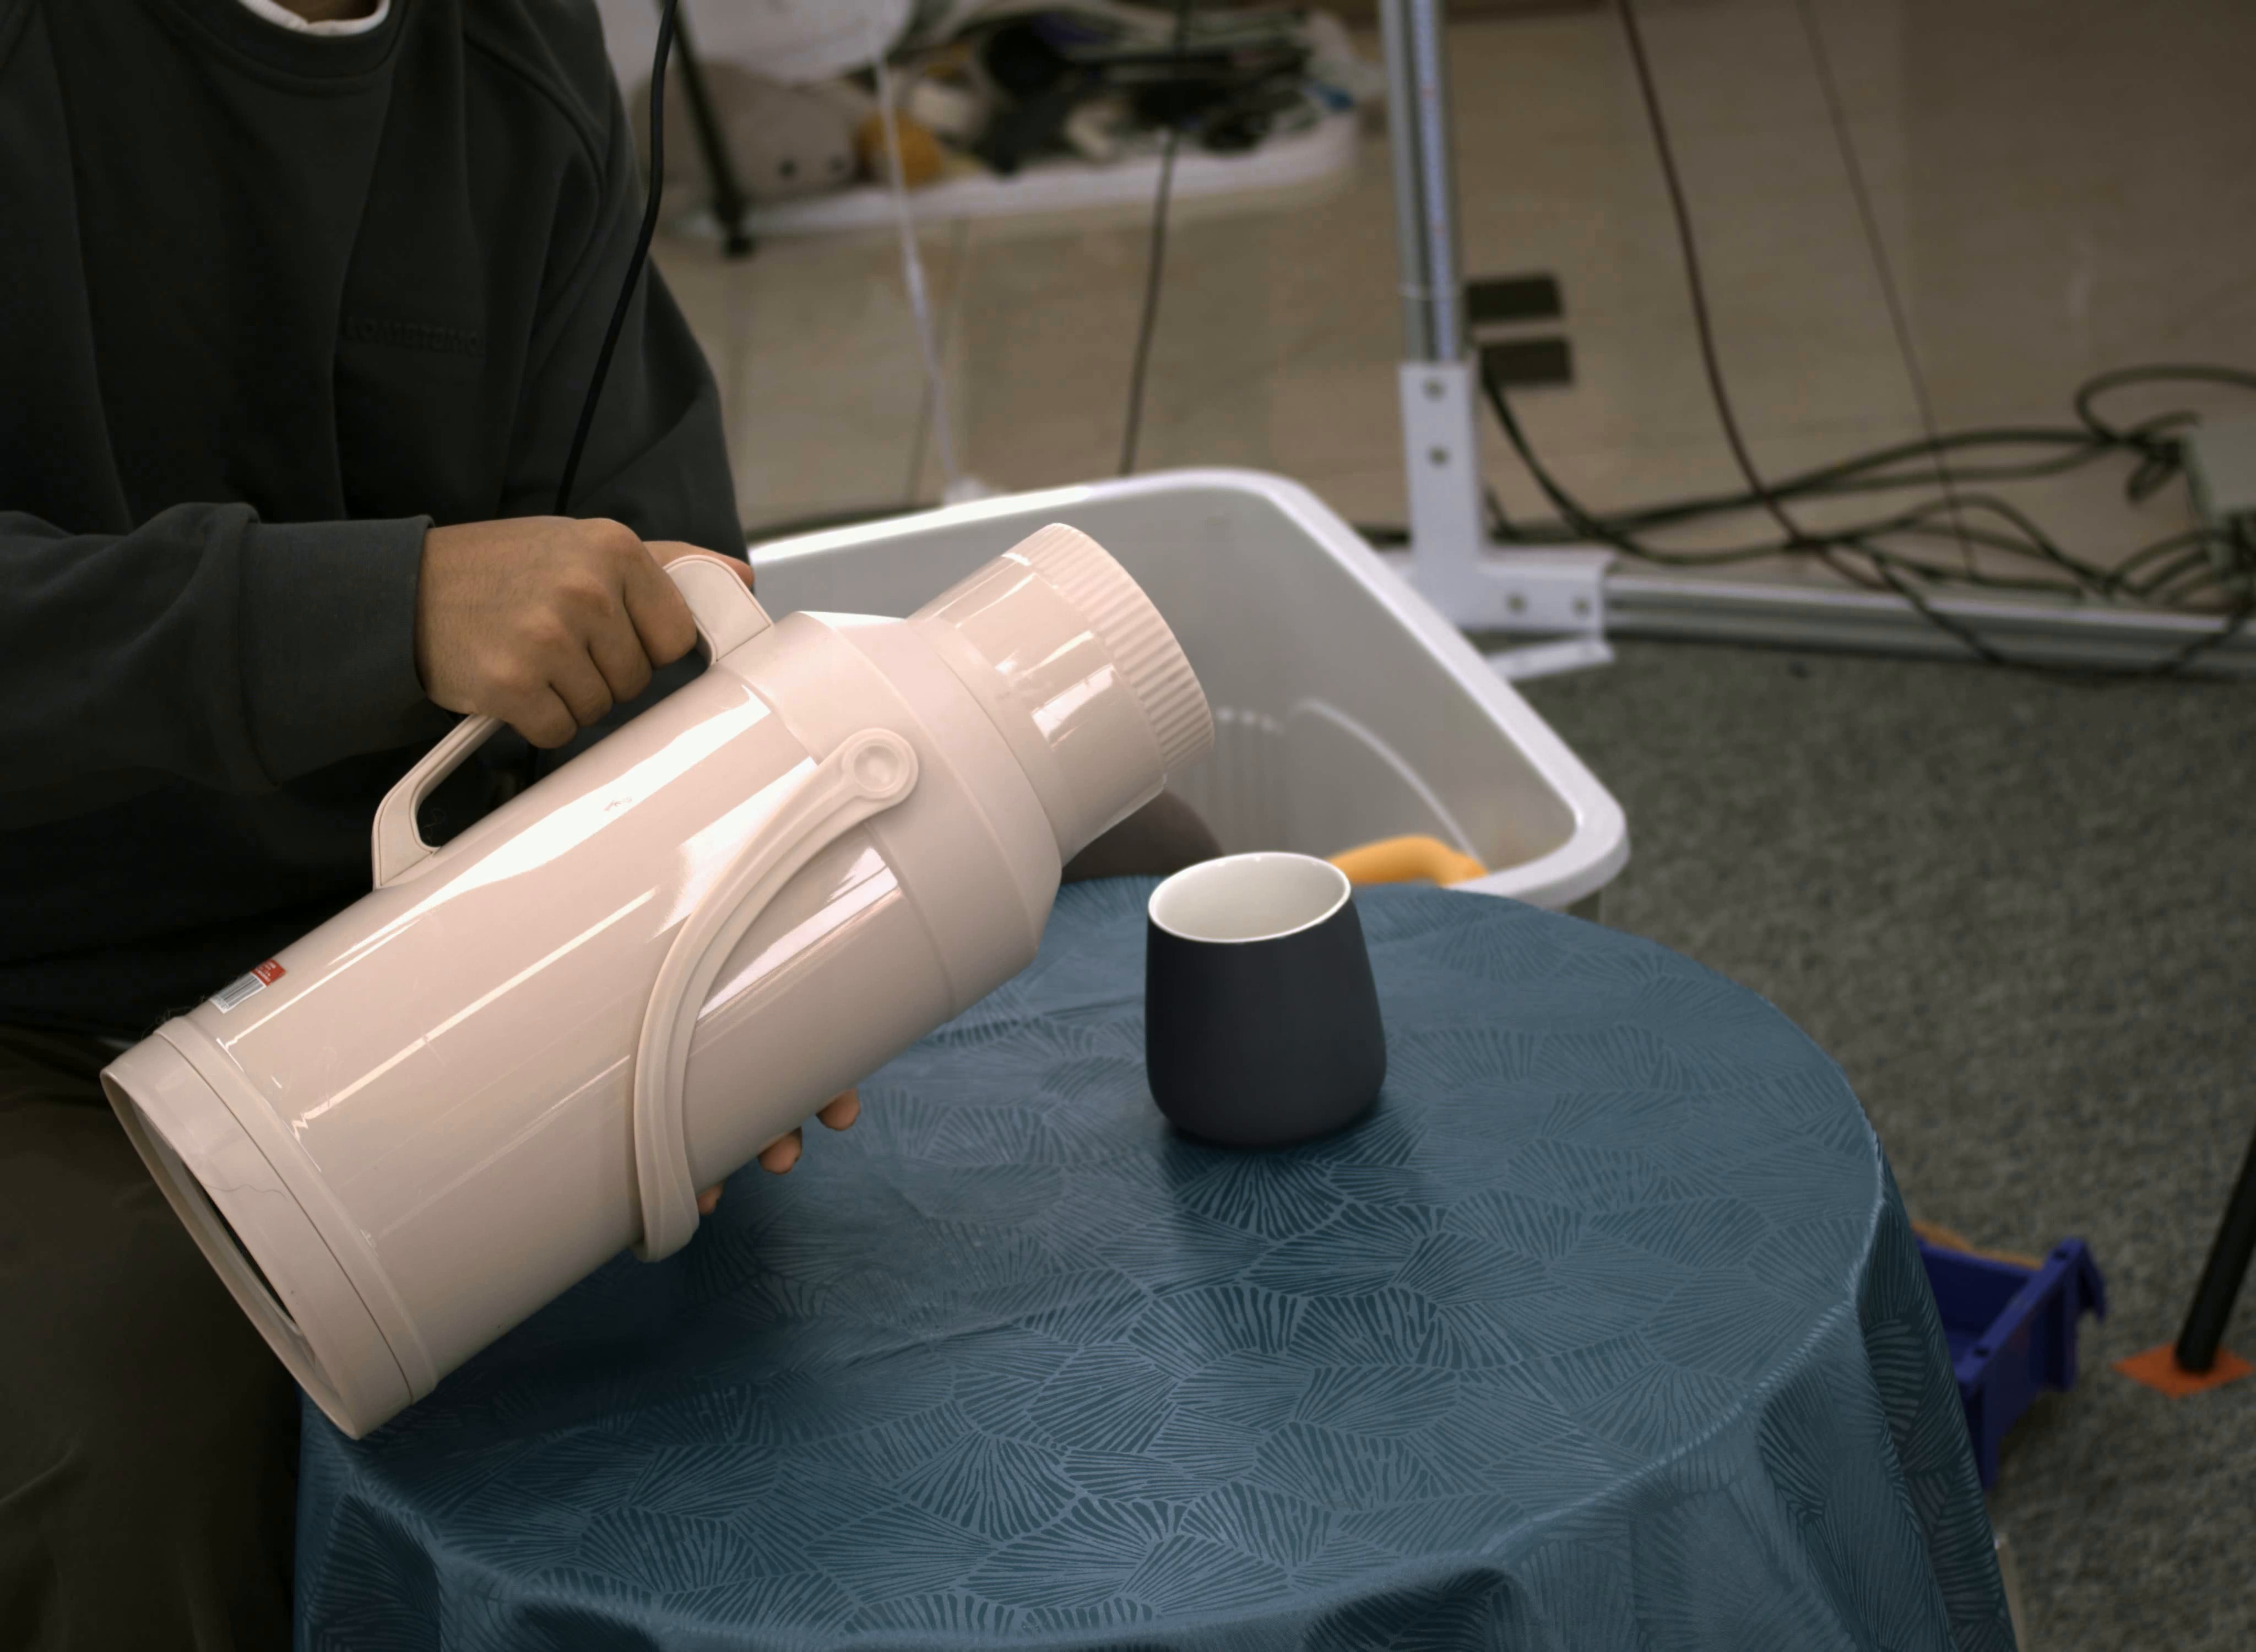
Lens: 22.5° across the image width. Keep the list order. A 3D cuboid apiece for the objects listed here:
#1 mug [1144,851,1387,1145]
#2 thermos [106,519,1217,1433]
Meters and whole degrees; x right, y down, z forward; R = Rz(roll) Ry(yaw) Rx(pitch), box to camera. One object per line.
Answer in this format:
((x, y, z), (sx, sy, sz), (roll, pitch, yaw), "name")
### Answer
((0.058, 0.061, 2.194), (0.093, 0.091, 0.122), (7, 28, 27), "mug")
((-0.166, 0.029, 2.034), (0.404, 0.206, 0.176), (-35, -5, -14), "thermos")
